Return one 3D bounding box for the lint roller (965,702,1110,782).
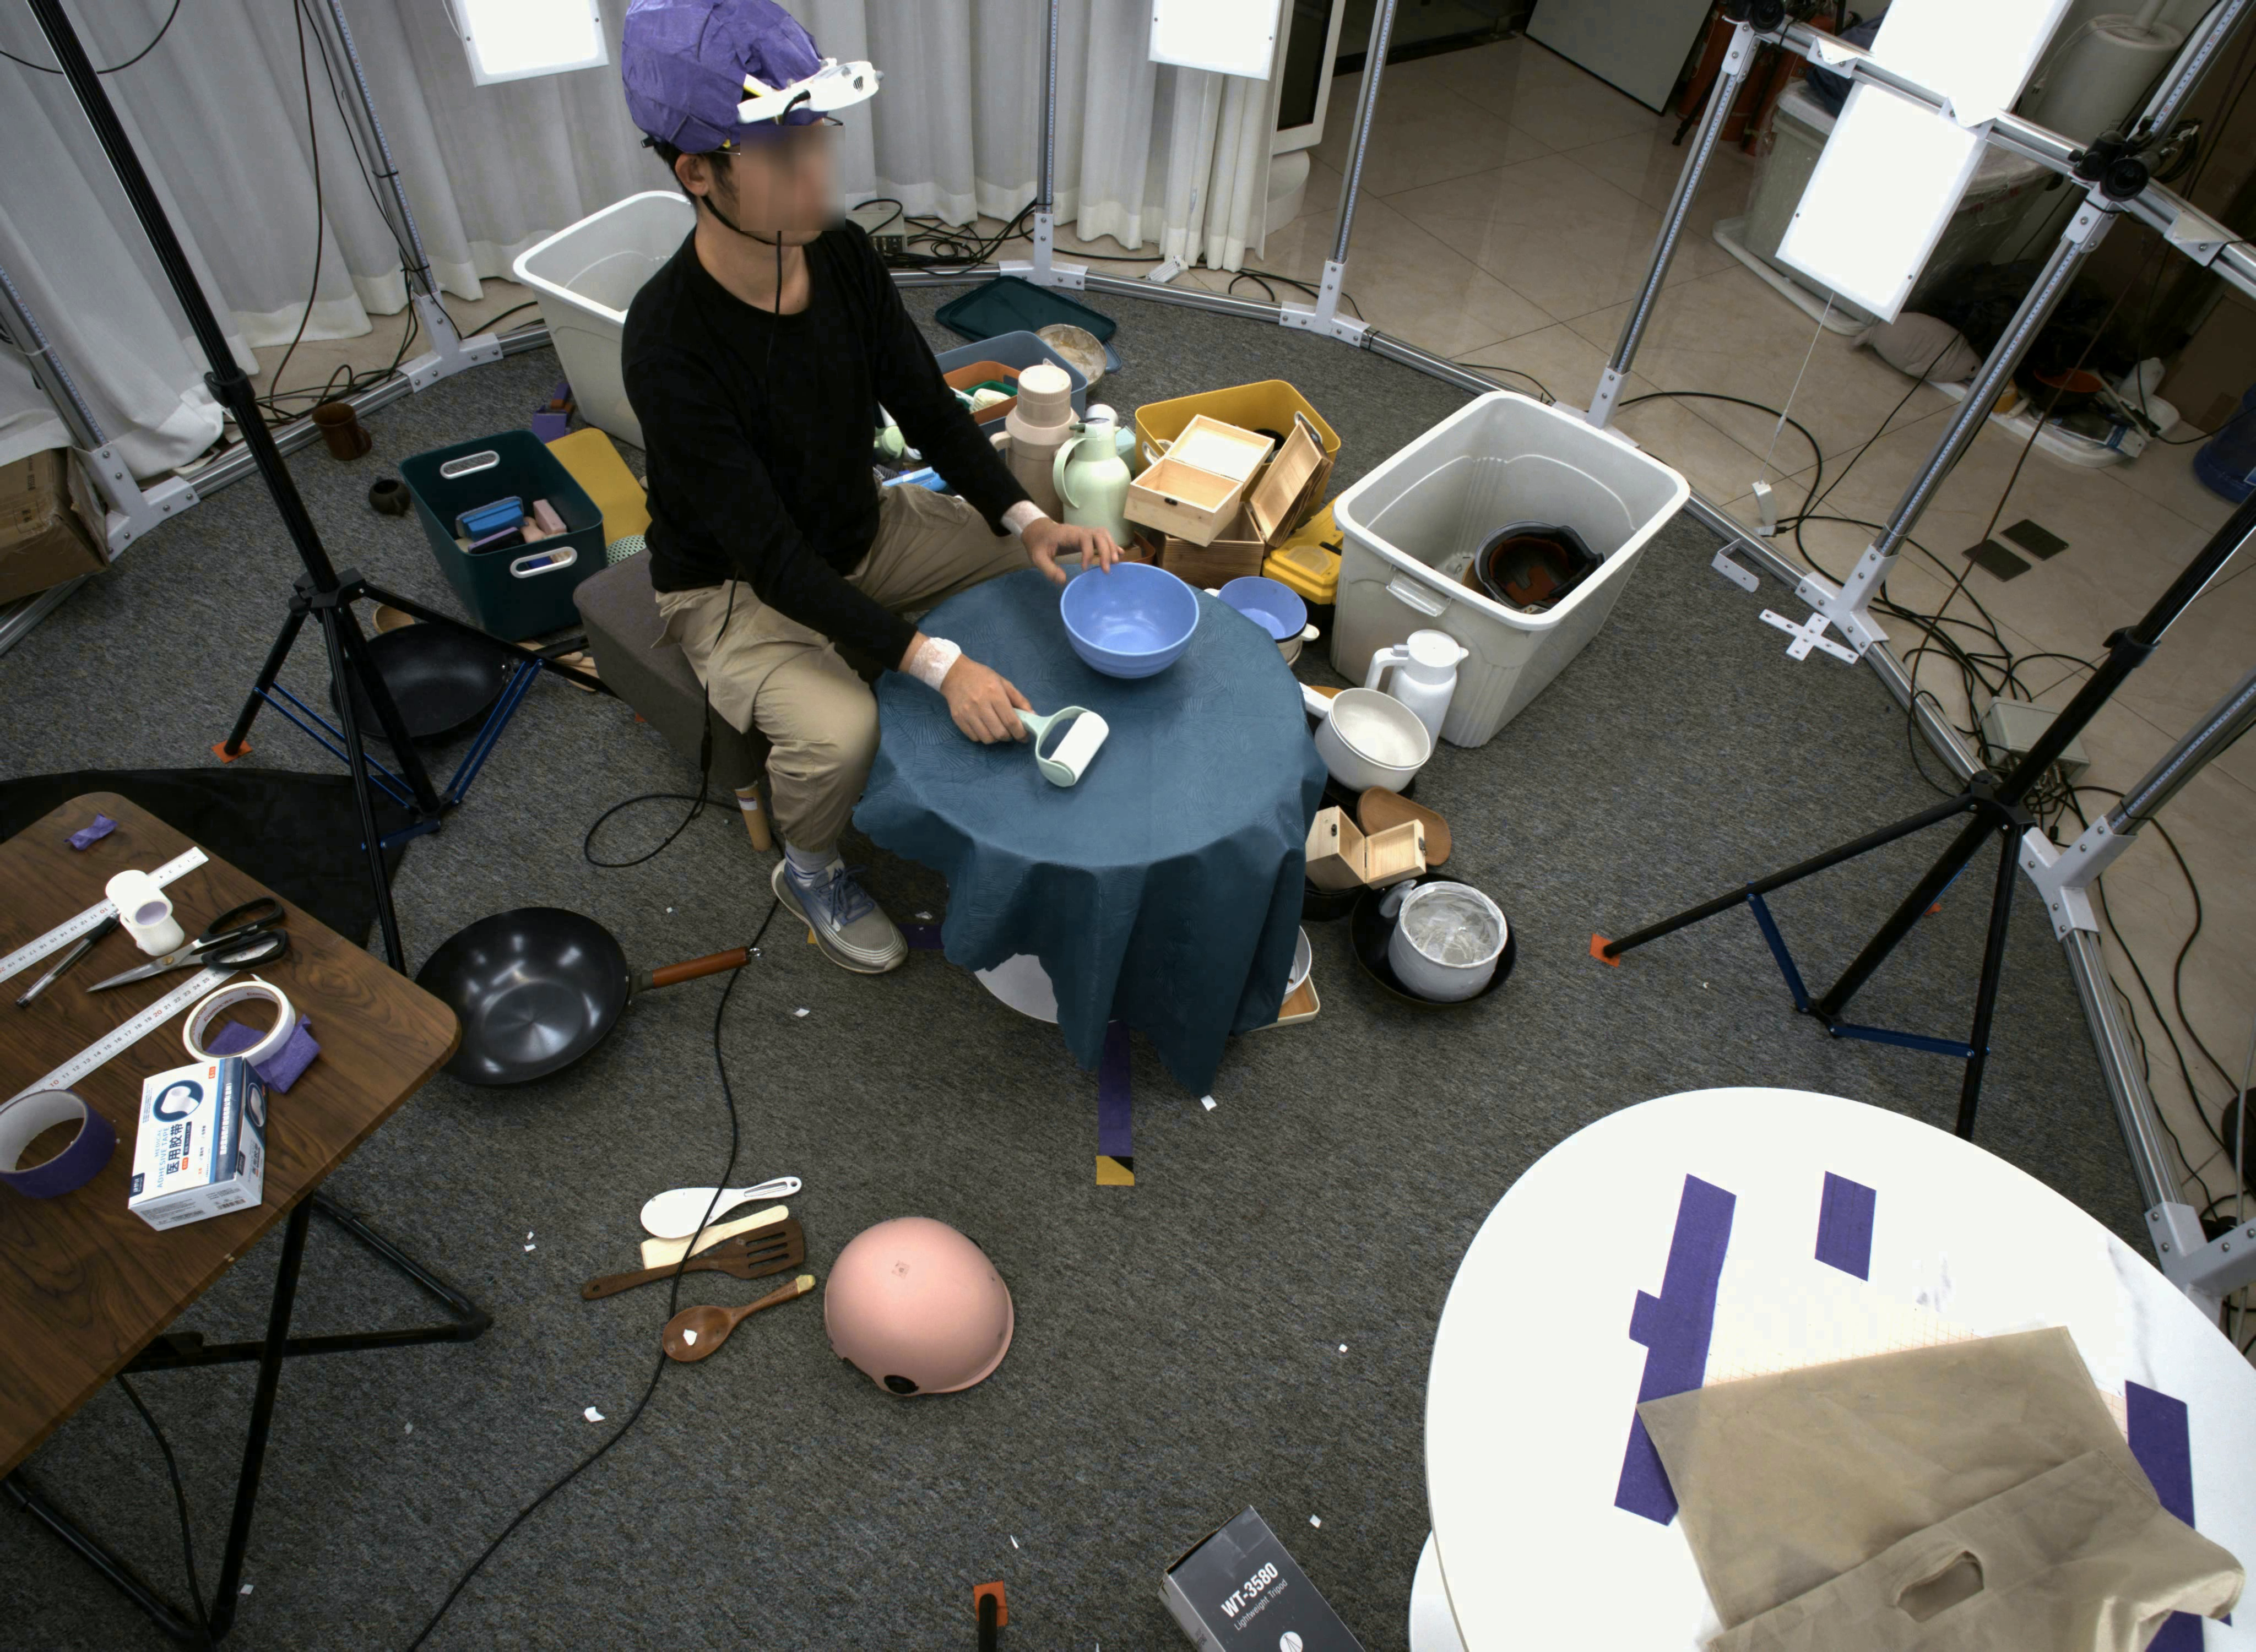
[{"bbox_3d":[-0.131,-0.137,1.746,0.198,0.047,0.119,22,53,13],"label":"lint roller"}]

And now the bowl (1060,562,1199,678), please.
[{"bbox_3d":[0.000,-0.281,1.852,0.196,0.093,0.201,1,50,-2],"label":"bowl"}]
